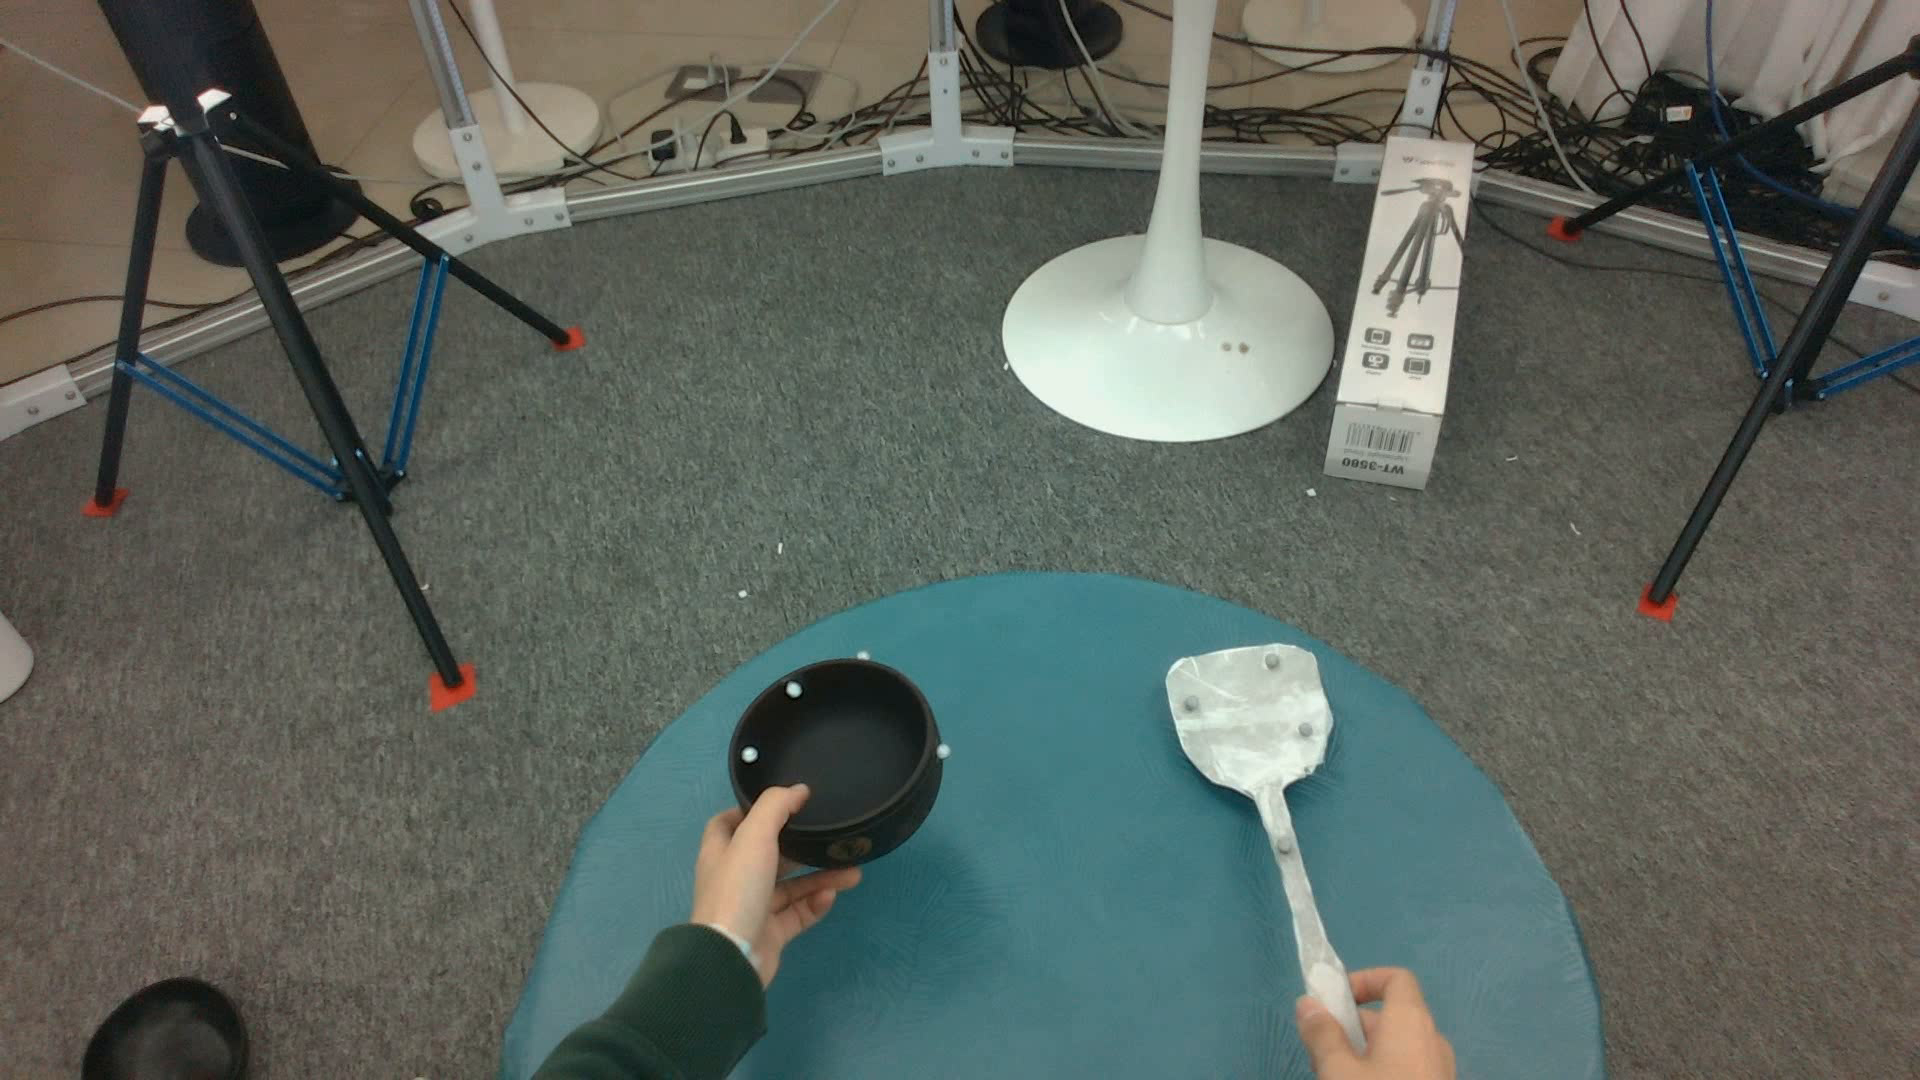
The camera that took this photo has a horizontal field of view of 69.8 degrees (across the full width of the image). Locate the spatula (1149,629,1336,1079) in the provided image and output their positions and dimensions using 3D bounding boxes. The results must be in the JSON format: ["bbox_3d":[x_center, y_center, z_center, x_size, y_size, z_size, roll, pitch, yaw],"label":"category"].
[{"bbox_3d":[0.171,0.177,0.763,0.098,0.044,0.366,-6,33,4],"label":"spatula"}]

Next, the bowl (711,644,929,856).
[{"bbox_3d":[-0.074,0.124,0.772,0.118,0.069,0.118,-6,48,7],"label":"bowl"}]
